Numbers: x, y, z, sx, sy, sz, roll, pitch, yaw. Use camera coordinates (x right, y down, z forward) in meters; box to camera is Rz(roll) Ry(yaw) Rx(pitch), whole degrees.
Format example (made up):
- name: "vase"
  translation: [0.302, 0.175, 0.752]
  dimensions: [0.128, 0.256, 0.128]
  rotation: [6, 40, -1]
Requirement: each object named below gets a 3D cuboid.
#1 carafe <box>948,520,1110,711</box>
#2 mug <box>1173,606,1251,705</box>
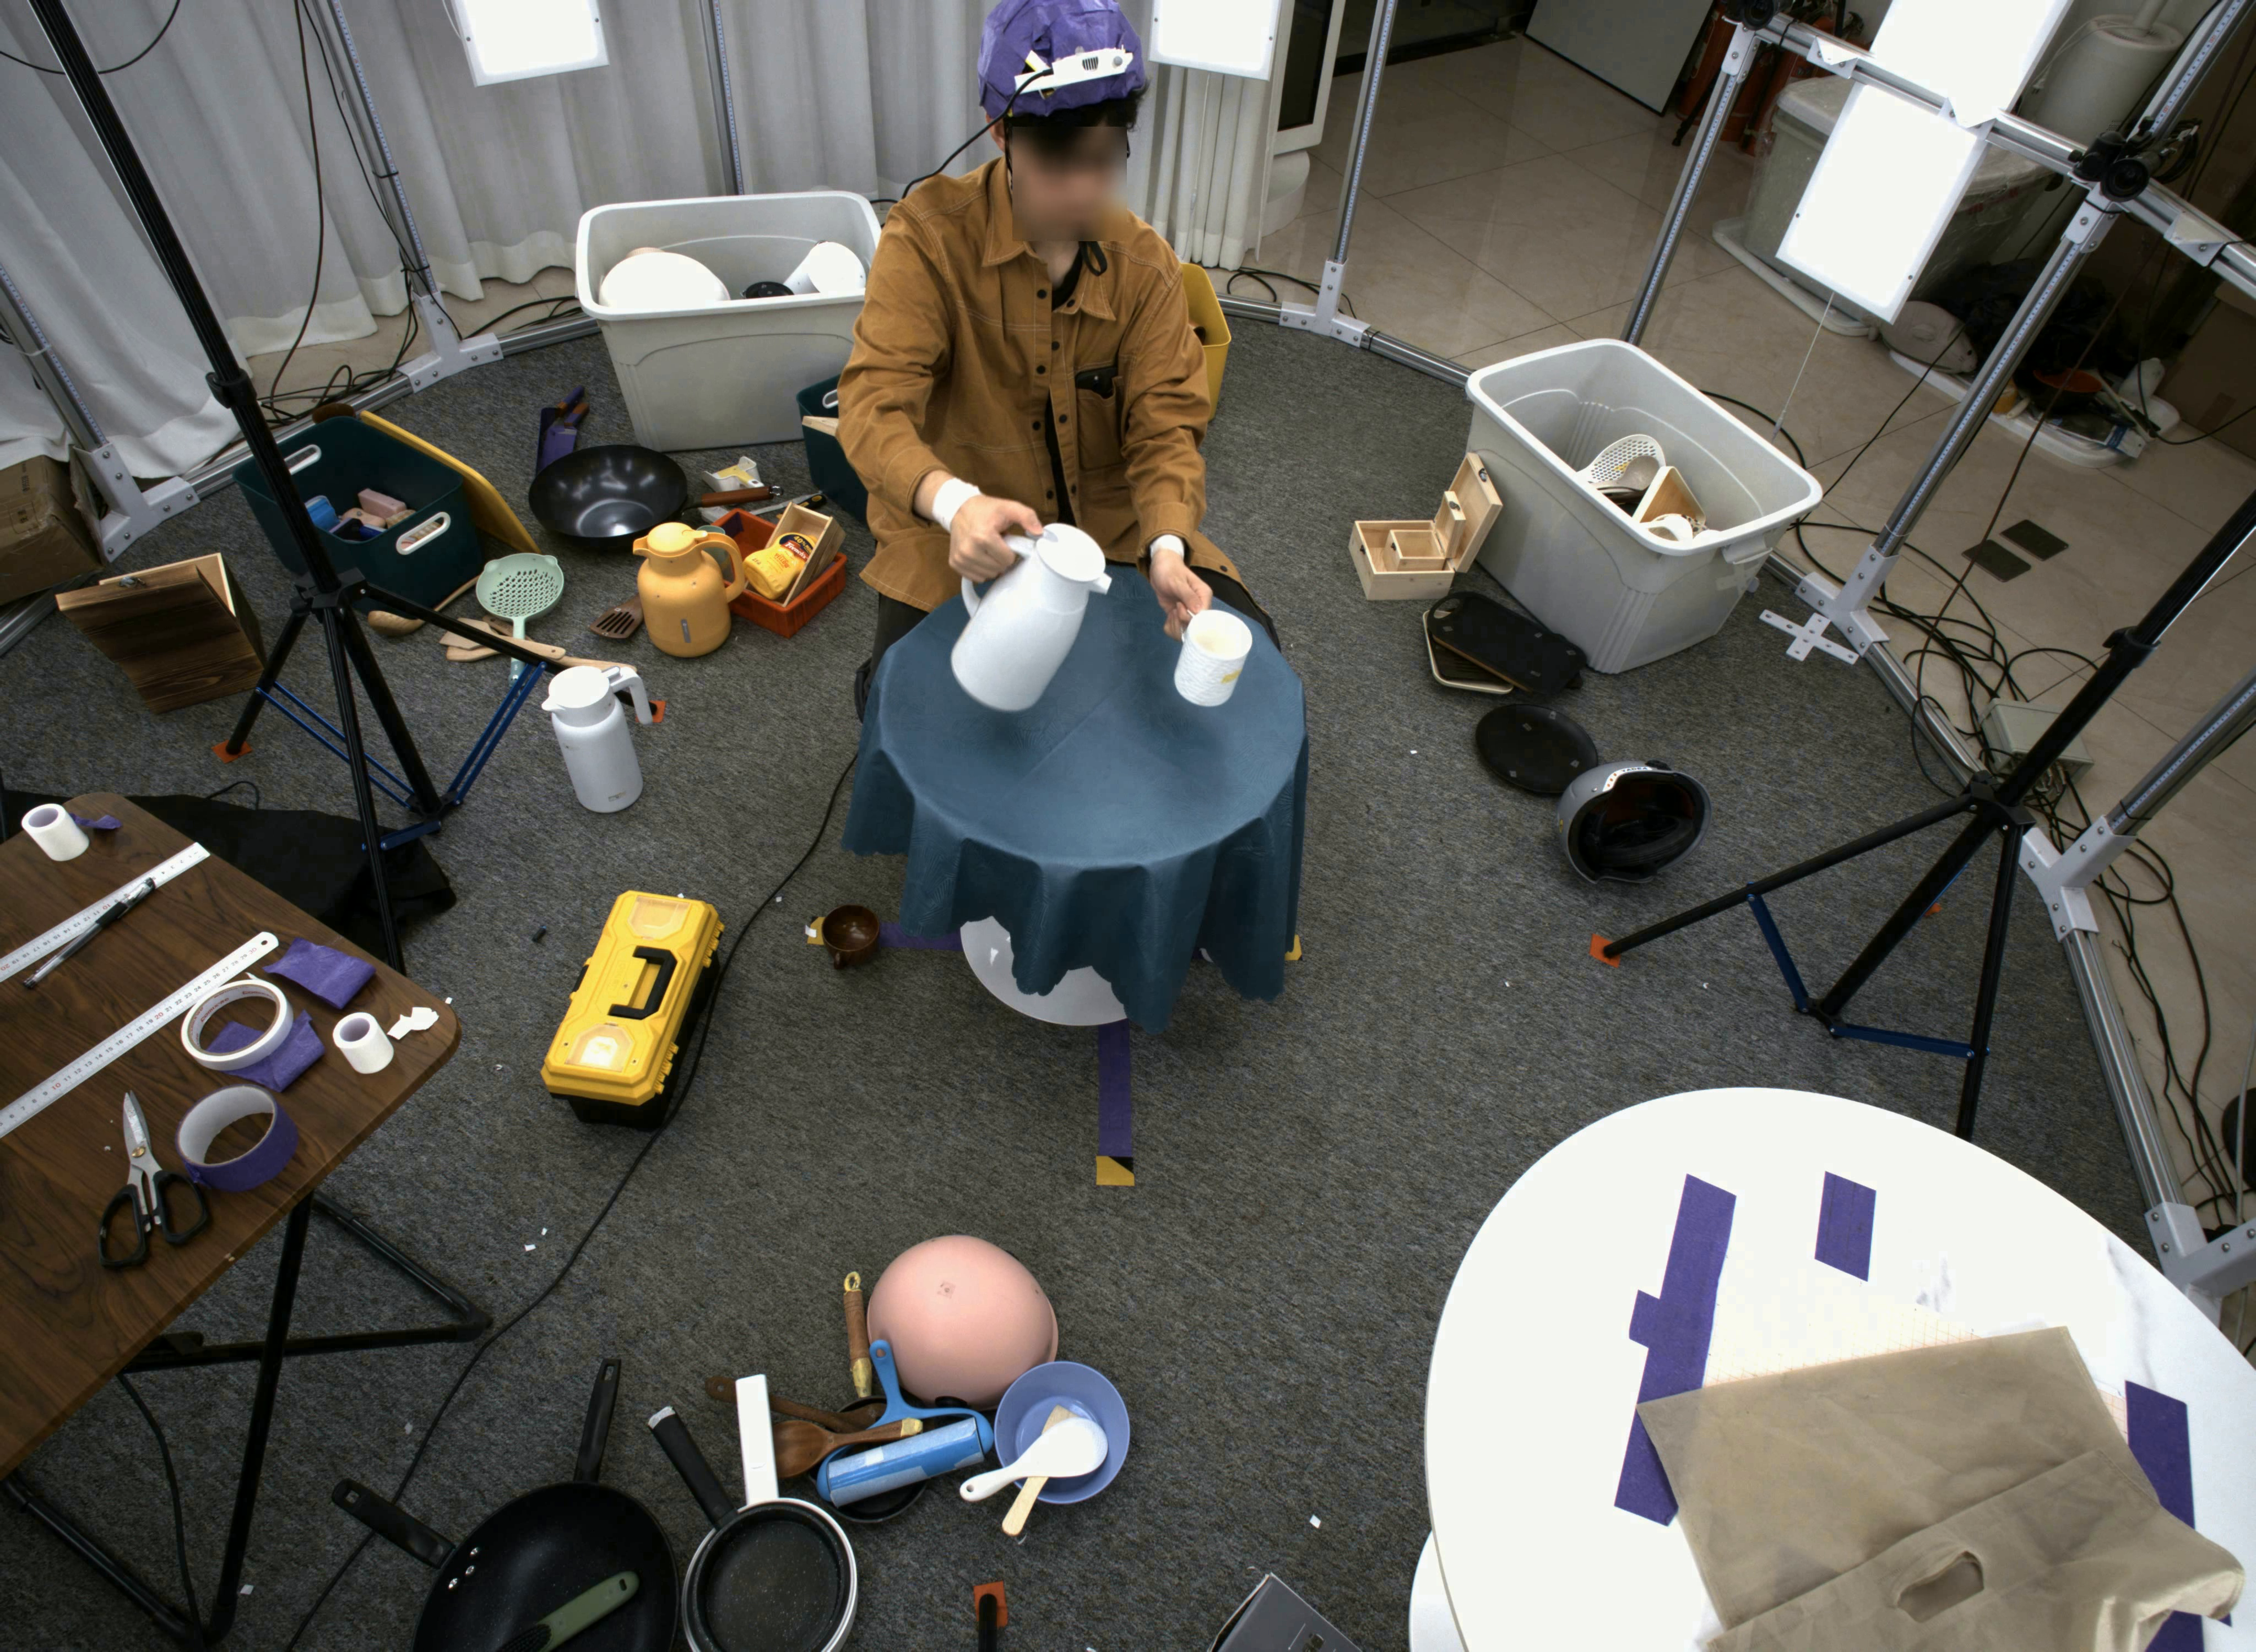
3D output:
- name: "carafe"
  translation: [-0.139, -0.278, 1.623]
  dimensions: [0.166, 0.244, 0.135]
  rotation: [27, 48, -12]
- name: "mug"
  translation: [0.102, -0.236, 1.721]
  dimensions: [0.085, 0.100, 0.120]
  rotation: [-18, 58, -25]
